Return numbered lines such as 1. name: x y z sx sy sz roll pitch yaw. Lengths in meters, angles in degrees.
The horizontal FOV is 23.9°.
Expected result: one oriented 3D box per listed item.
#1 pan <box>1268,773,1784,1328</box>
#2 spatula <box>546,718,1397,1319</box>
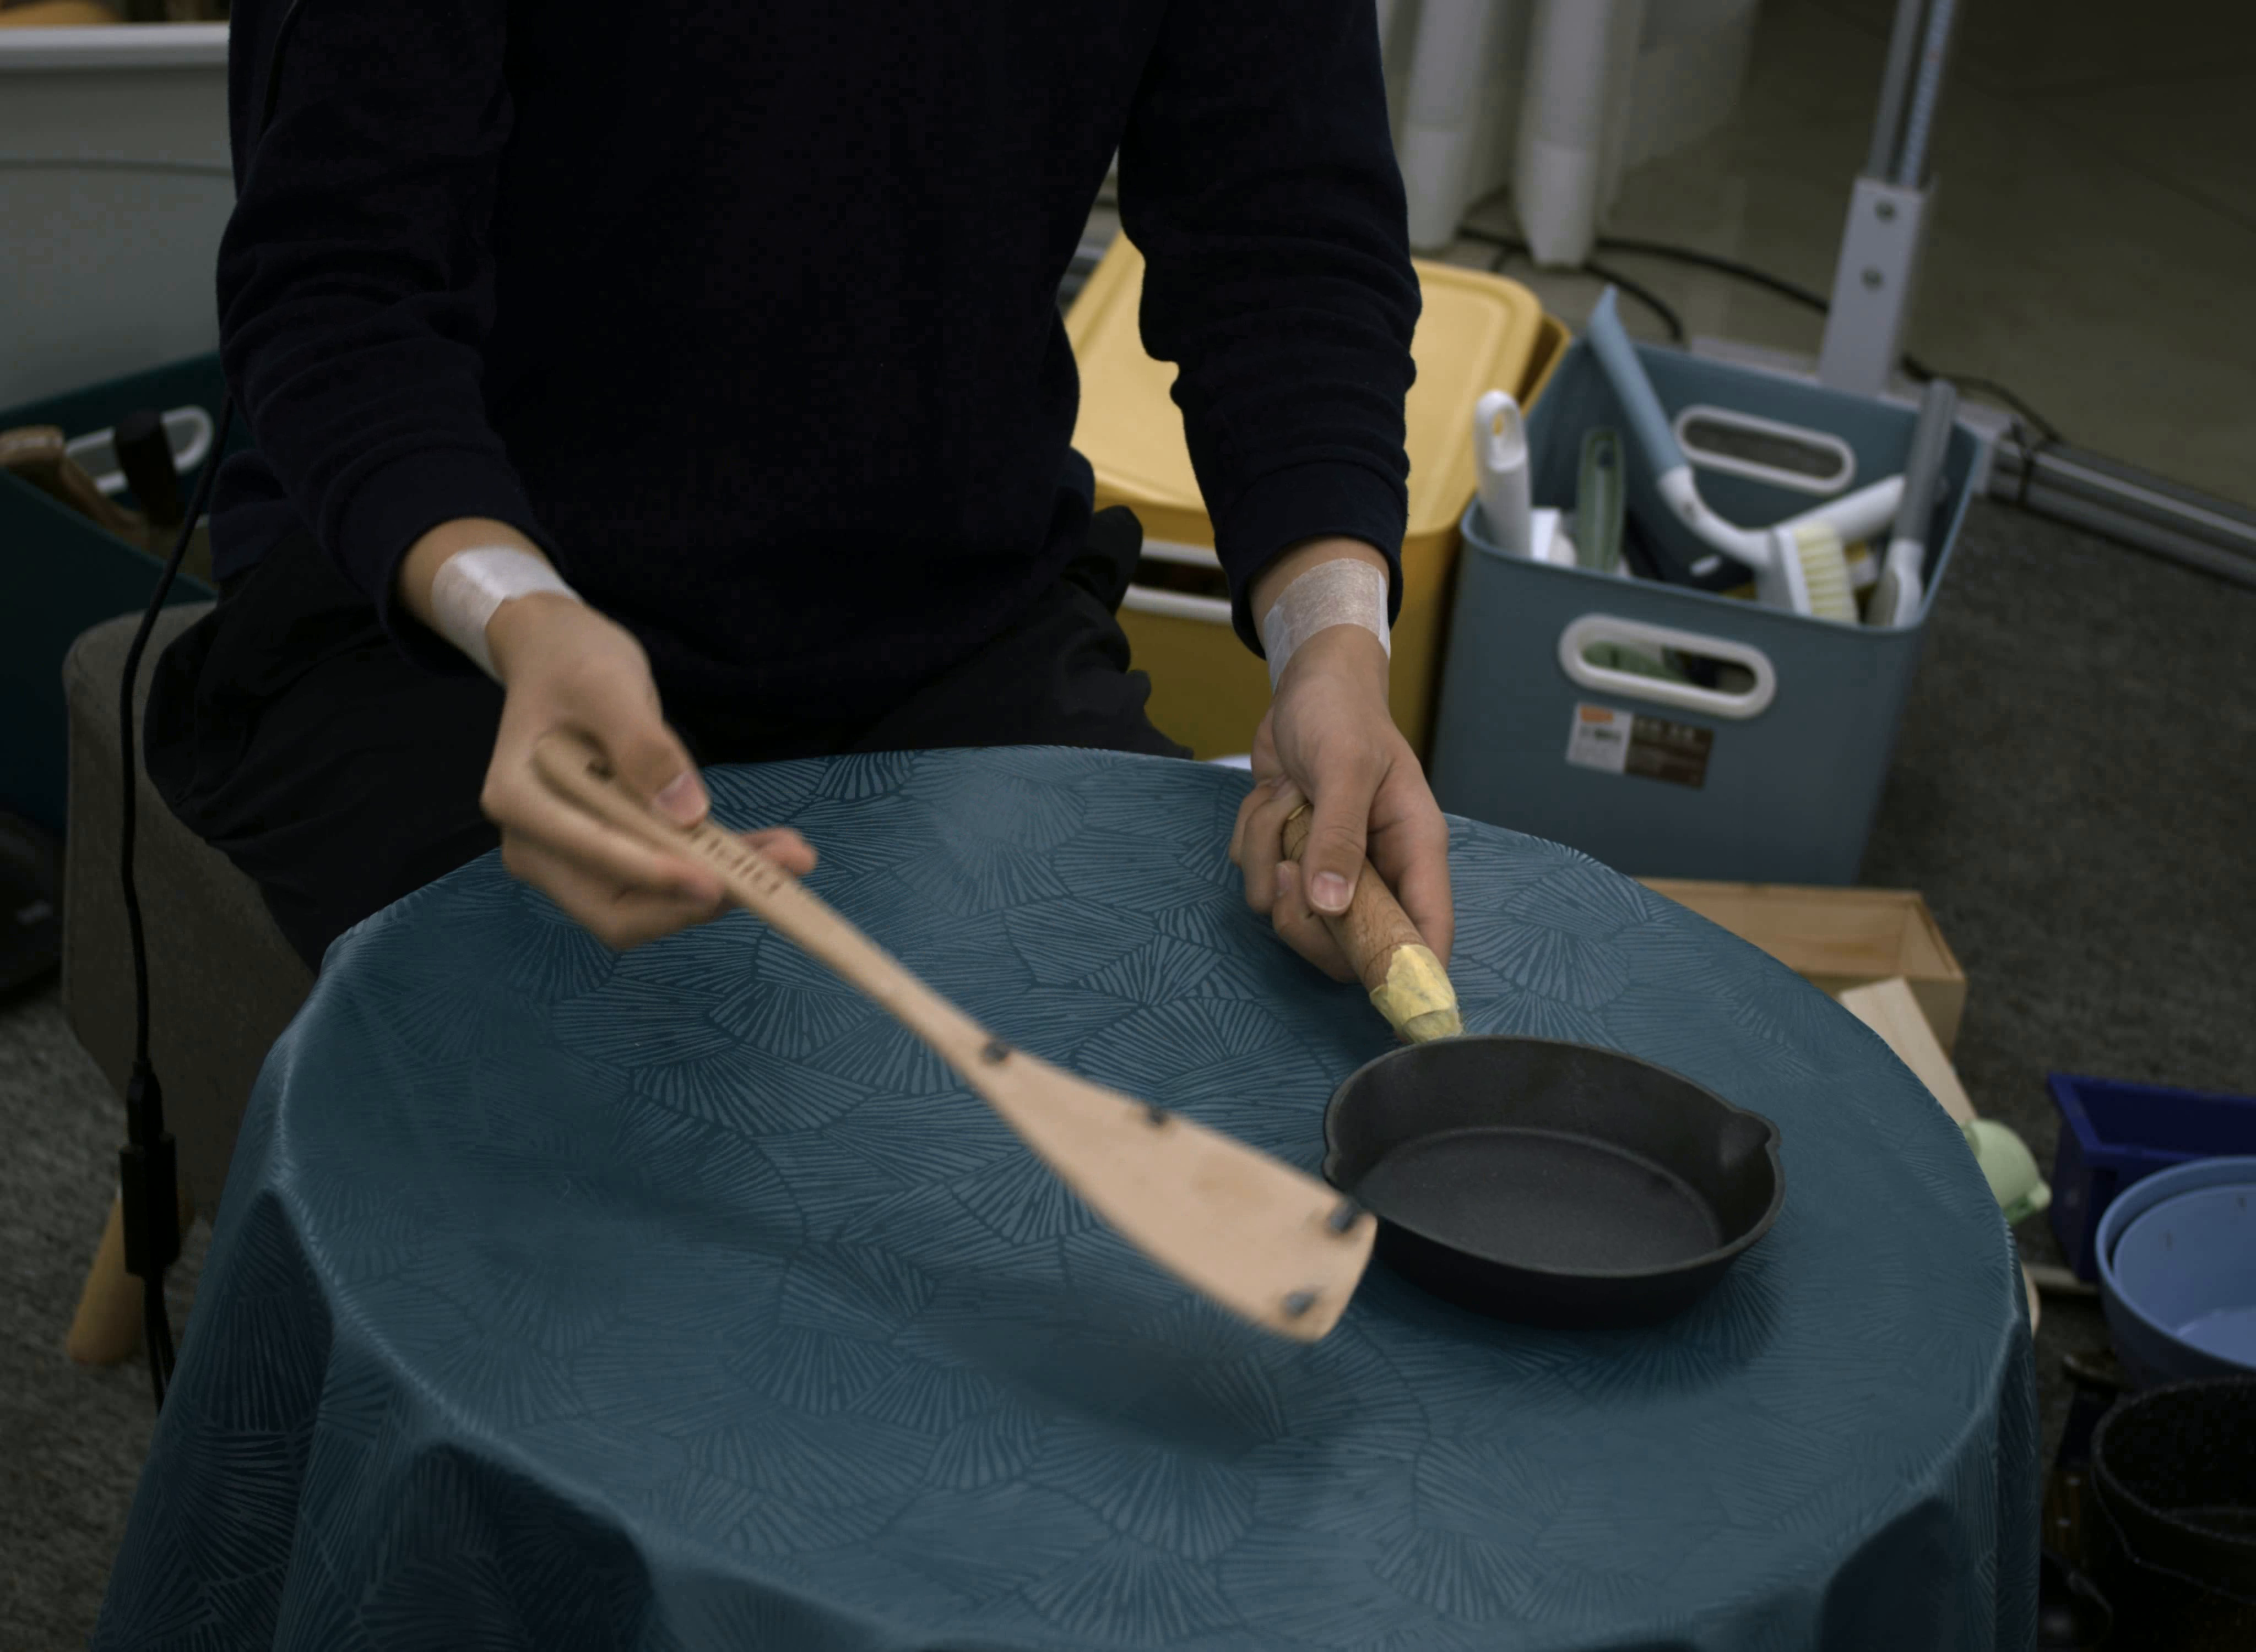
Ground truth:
1. pan: 0.115 0.076 1.866 0.168 0.049 0.327 -4 30 -19
2. spatula: -0.052 0.055 1.705 0.328 0.016 0.080 34 32 10
